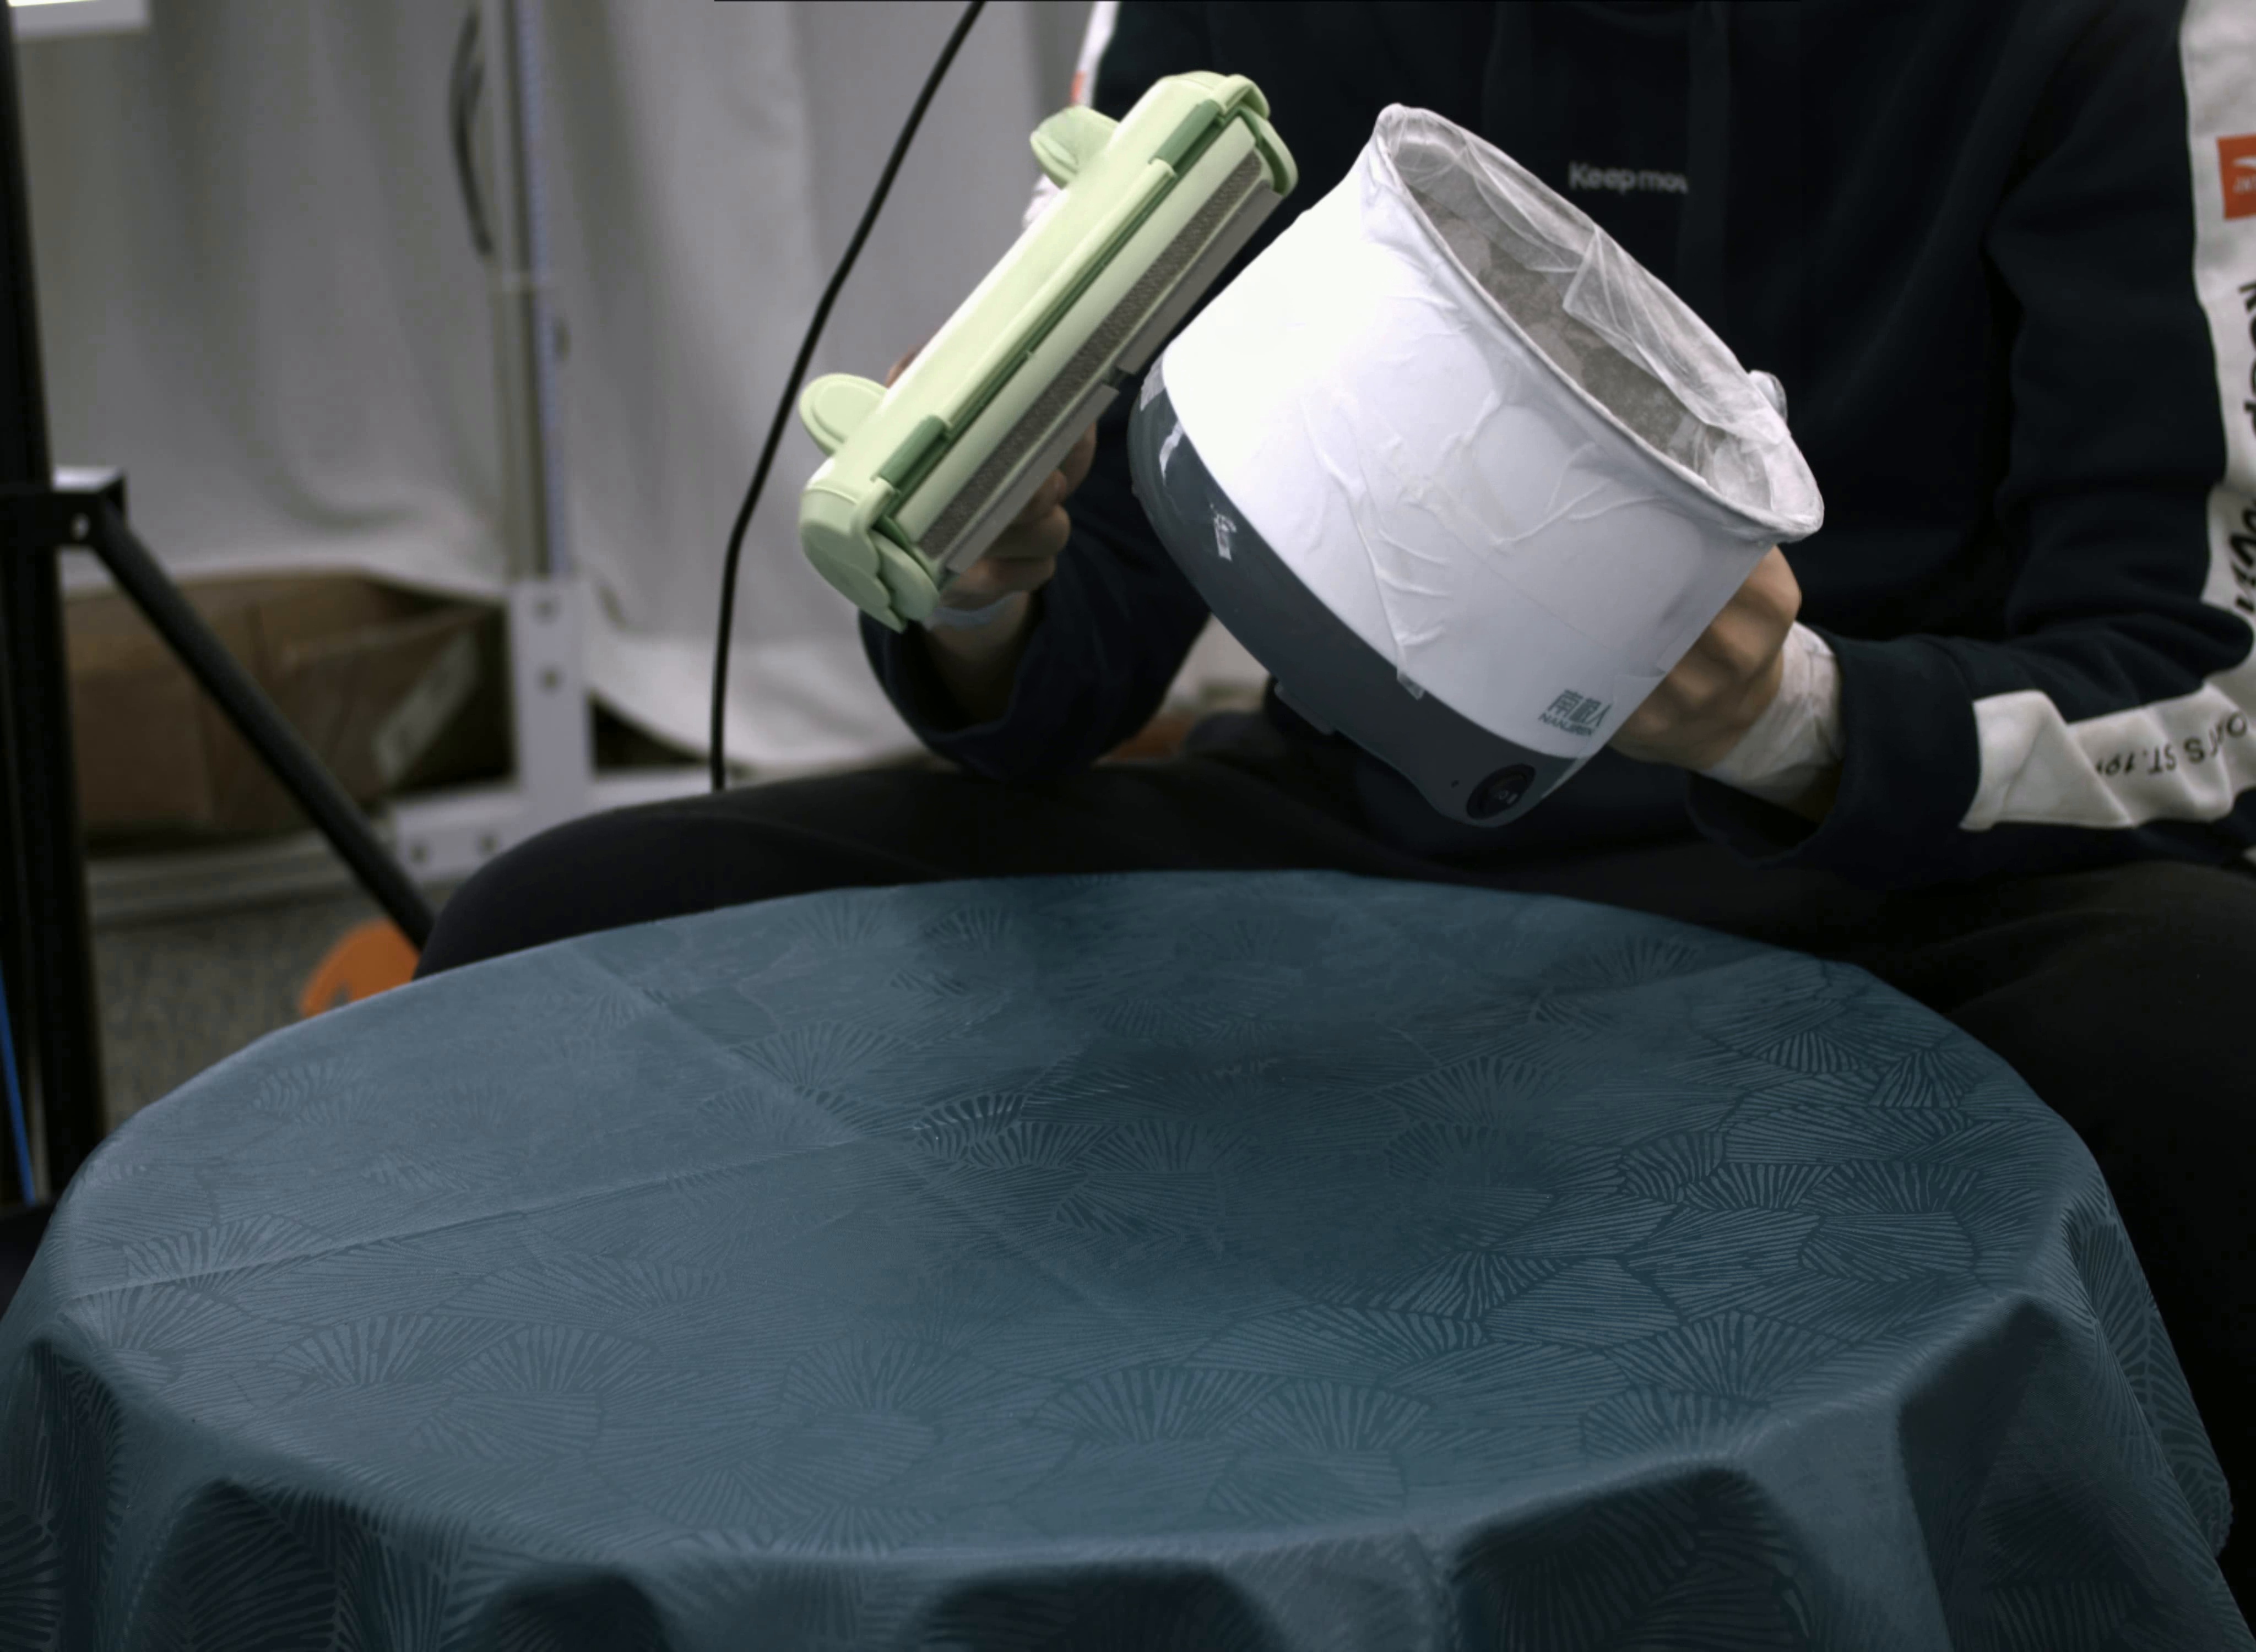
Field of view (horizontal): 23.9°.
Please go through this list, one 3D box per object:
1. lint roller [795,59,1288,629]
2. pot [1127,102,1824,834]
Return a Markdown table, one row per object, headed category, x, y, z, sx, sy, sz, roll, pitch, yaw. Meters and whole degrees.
| category | x | y | z | sx | sy | sz | roll | pitch | yaw |
| --- | --- | --- | --- | --- | --- | --- | --- | --- | --- |
| lint roller | -0.045 | -0.143 | 1.672 | 0.198 | 0.082 | 0.185 | -51 | 6 | -18 |
| pot | 0.114 | -0.101 | 1.593 | 0.227 | 0.137 | 0.182 | 13 | 36 | -52 |
